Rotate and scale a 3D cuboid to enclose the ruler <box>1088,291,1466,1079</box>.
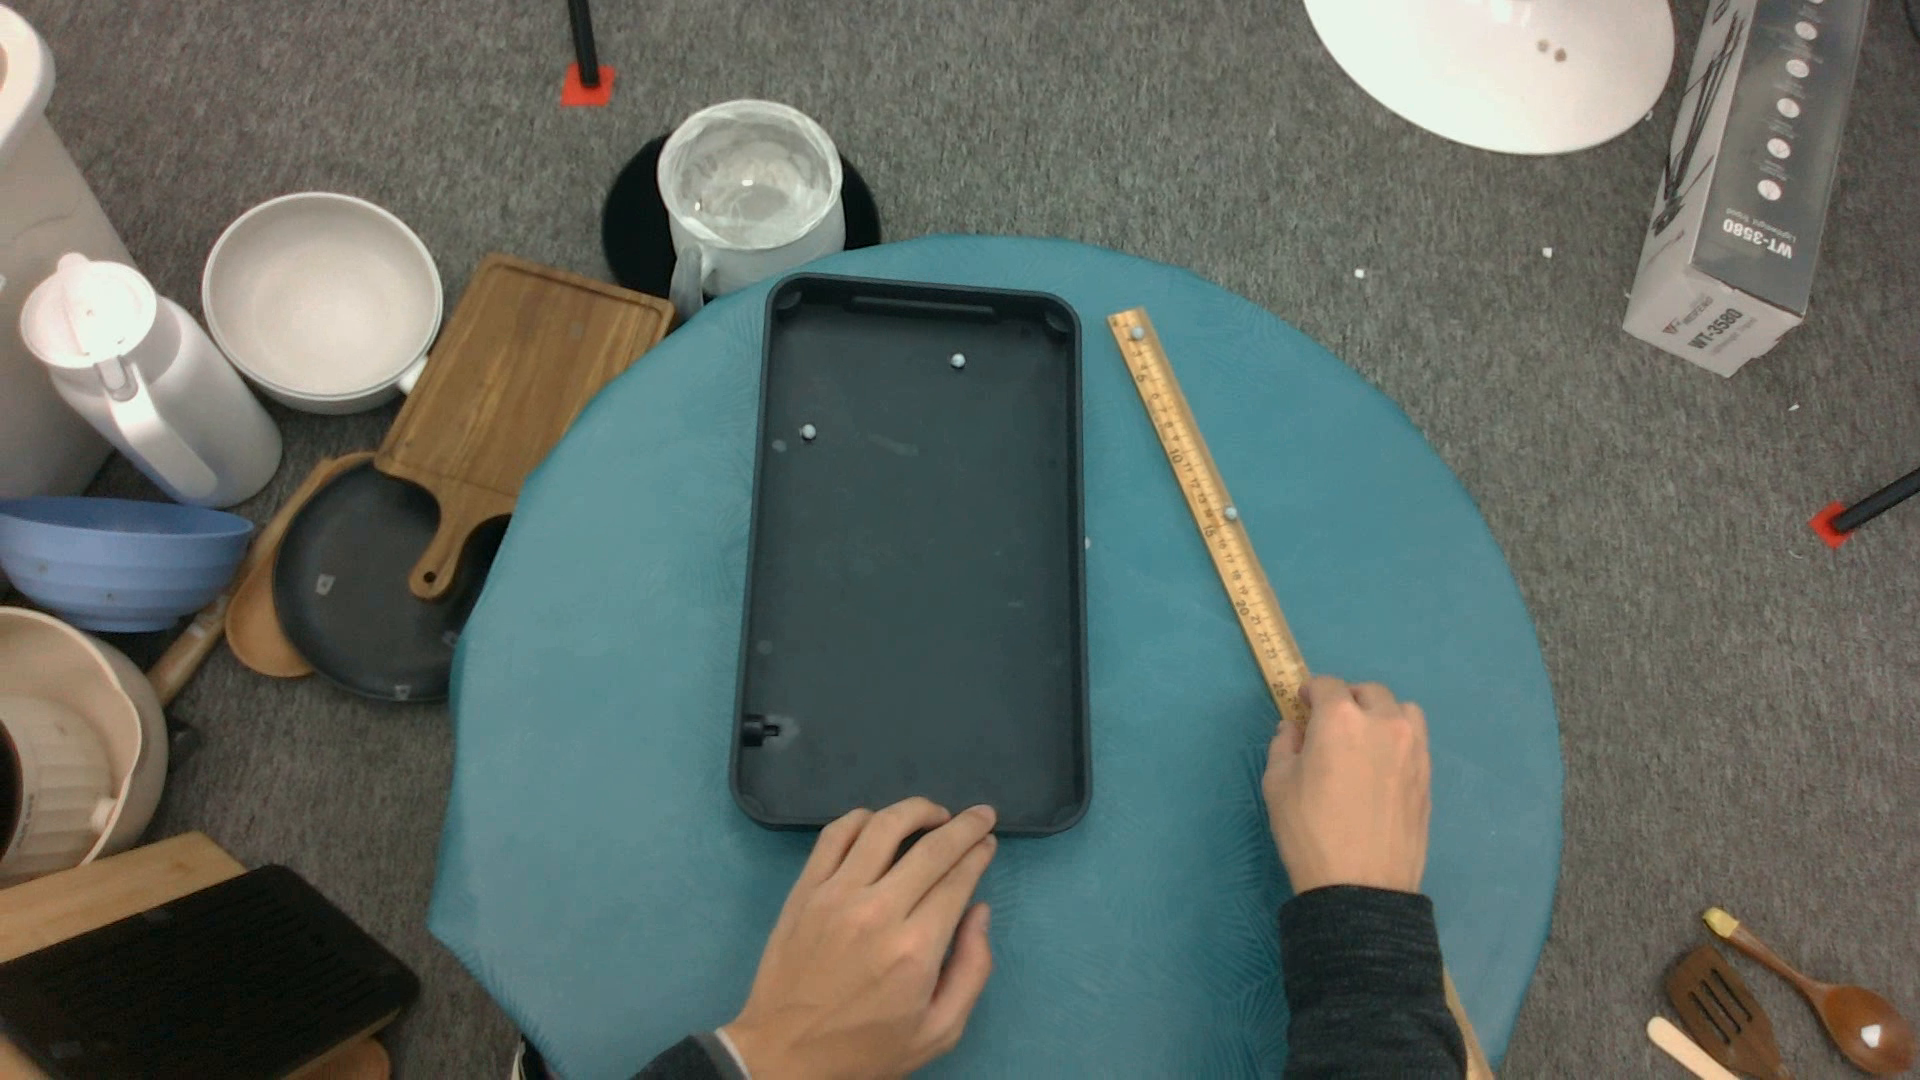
[{"bbox_3d":[0.170,0.074,0.767,0.027,0.006,0.501,-17,71,-9],"label":"ruler"}]

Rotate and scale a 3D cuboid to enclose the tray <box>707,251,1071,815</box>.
[{"bbox_3d":[-0.038,-0.010,0.755,0.184,0.037,0.319,2,69,-7],"label":"tray"}]
